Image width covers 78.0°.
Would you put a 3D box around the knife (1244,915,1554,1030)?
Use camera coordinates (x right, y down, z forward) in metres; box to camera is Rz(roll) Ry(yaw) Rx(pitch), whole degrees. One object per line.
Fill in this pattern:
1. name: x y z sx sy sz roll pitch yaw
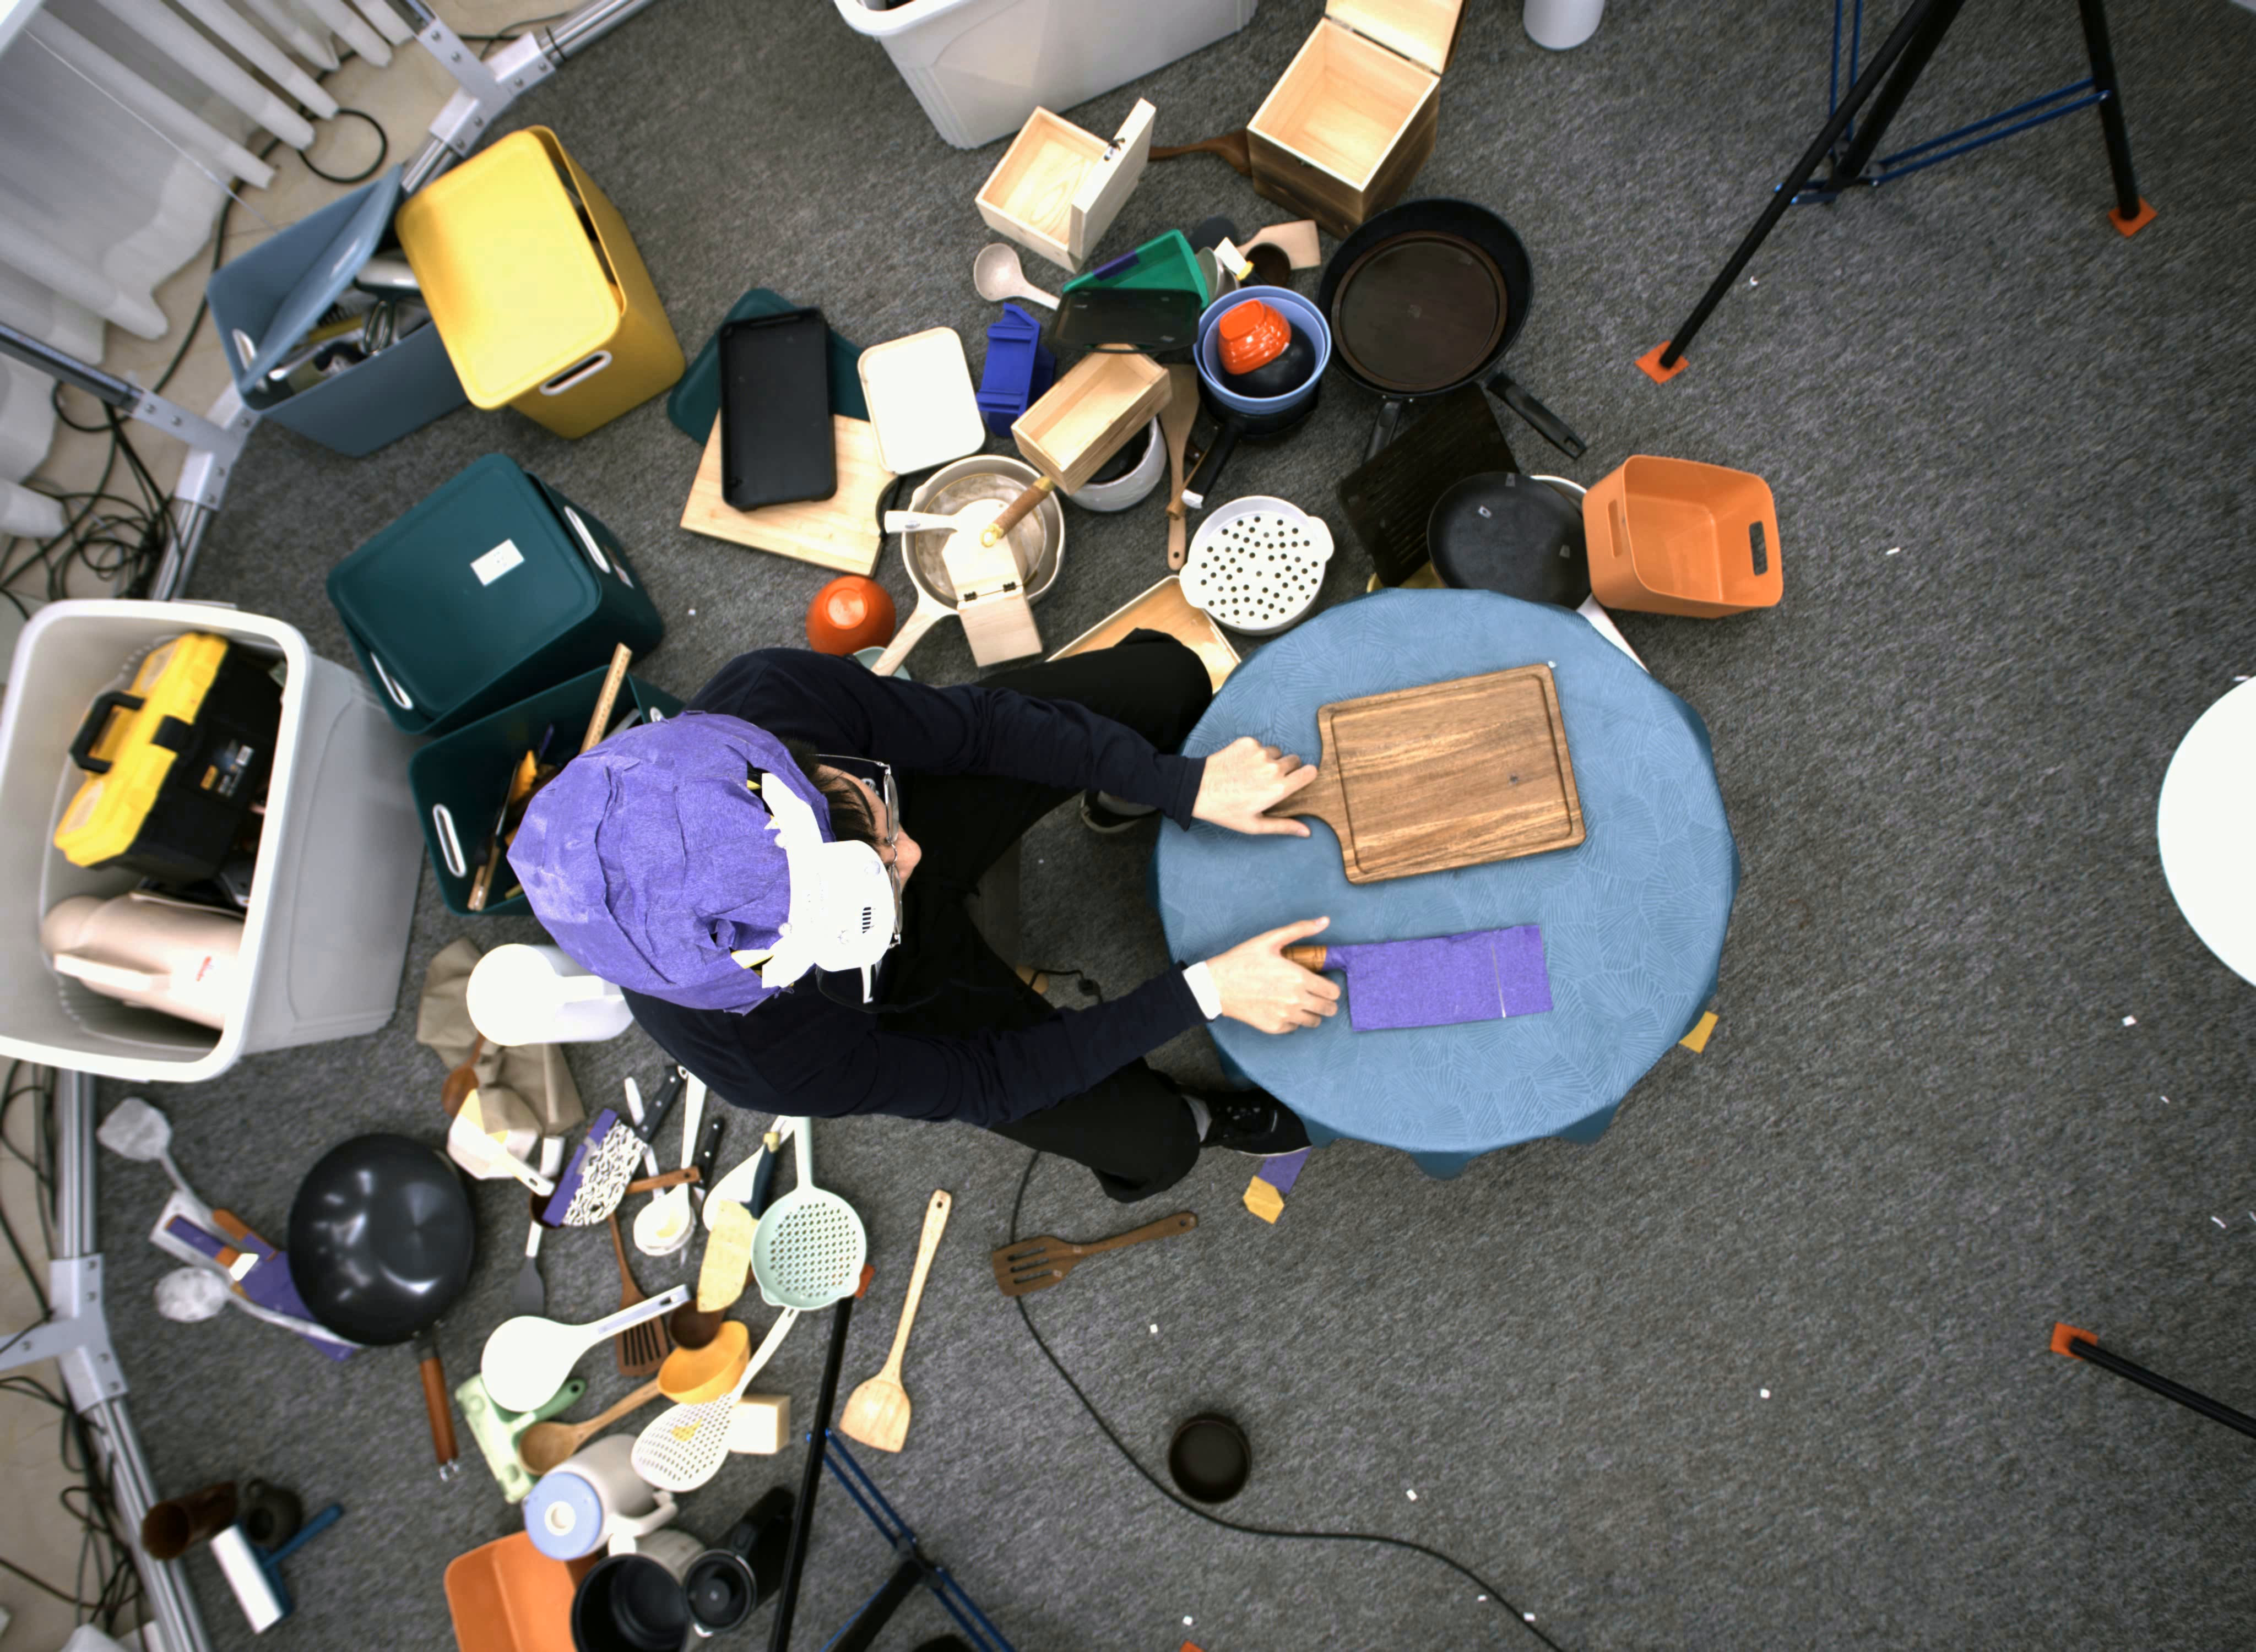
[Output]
1. knife: 0.281 0.161 1.439 0.317 0.032 0.103 -8 85 10

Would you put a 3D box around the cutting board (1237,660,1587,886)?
1. cutting board: 0.289 -0.048 1.453 0.354 0.023 0.200 -11 85 10
